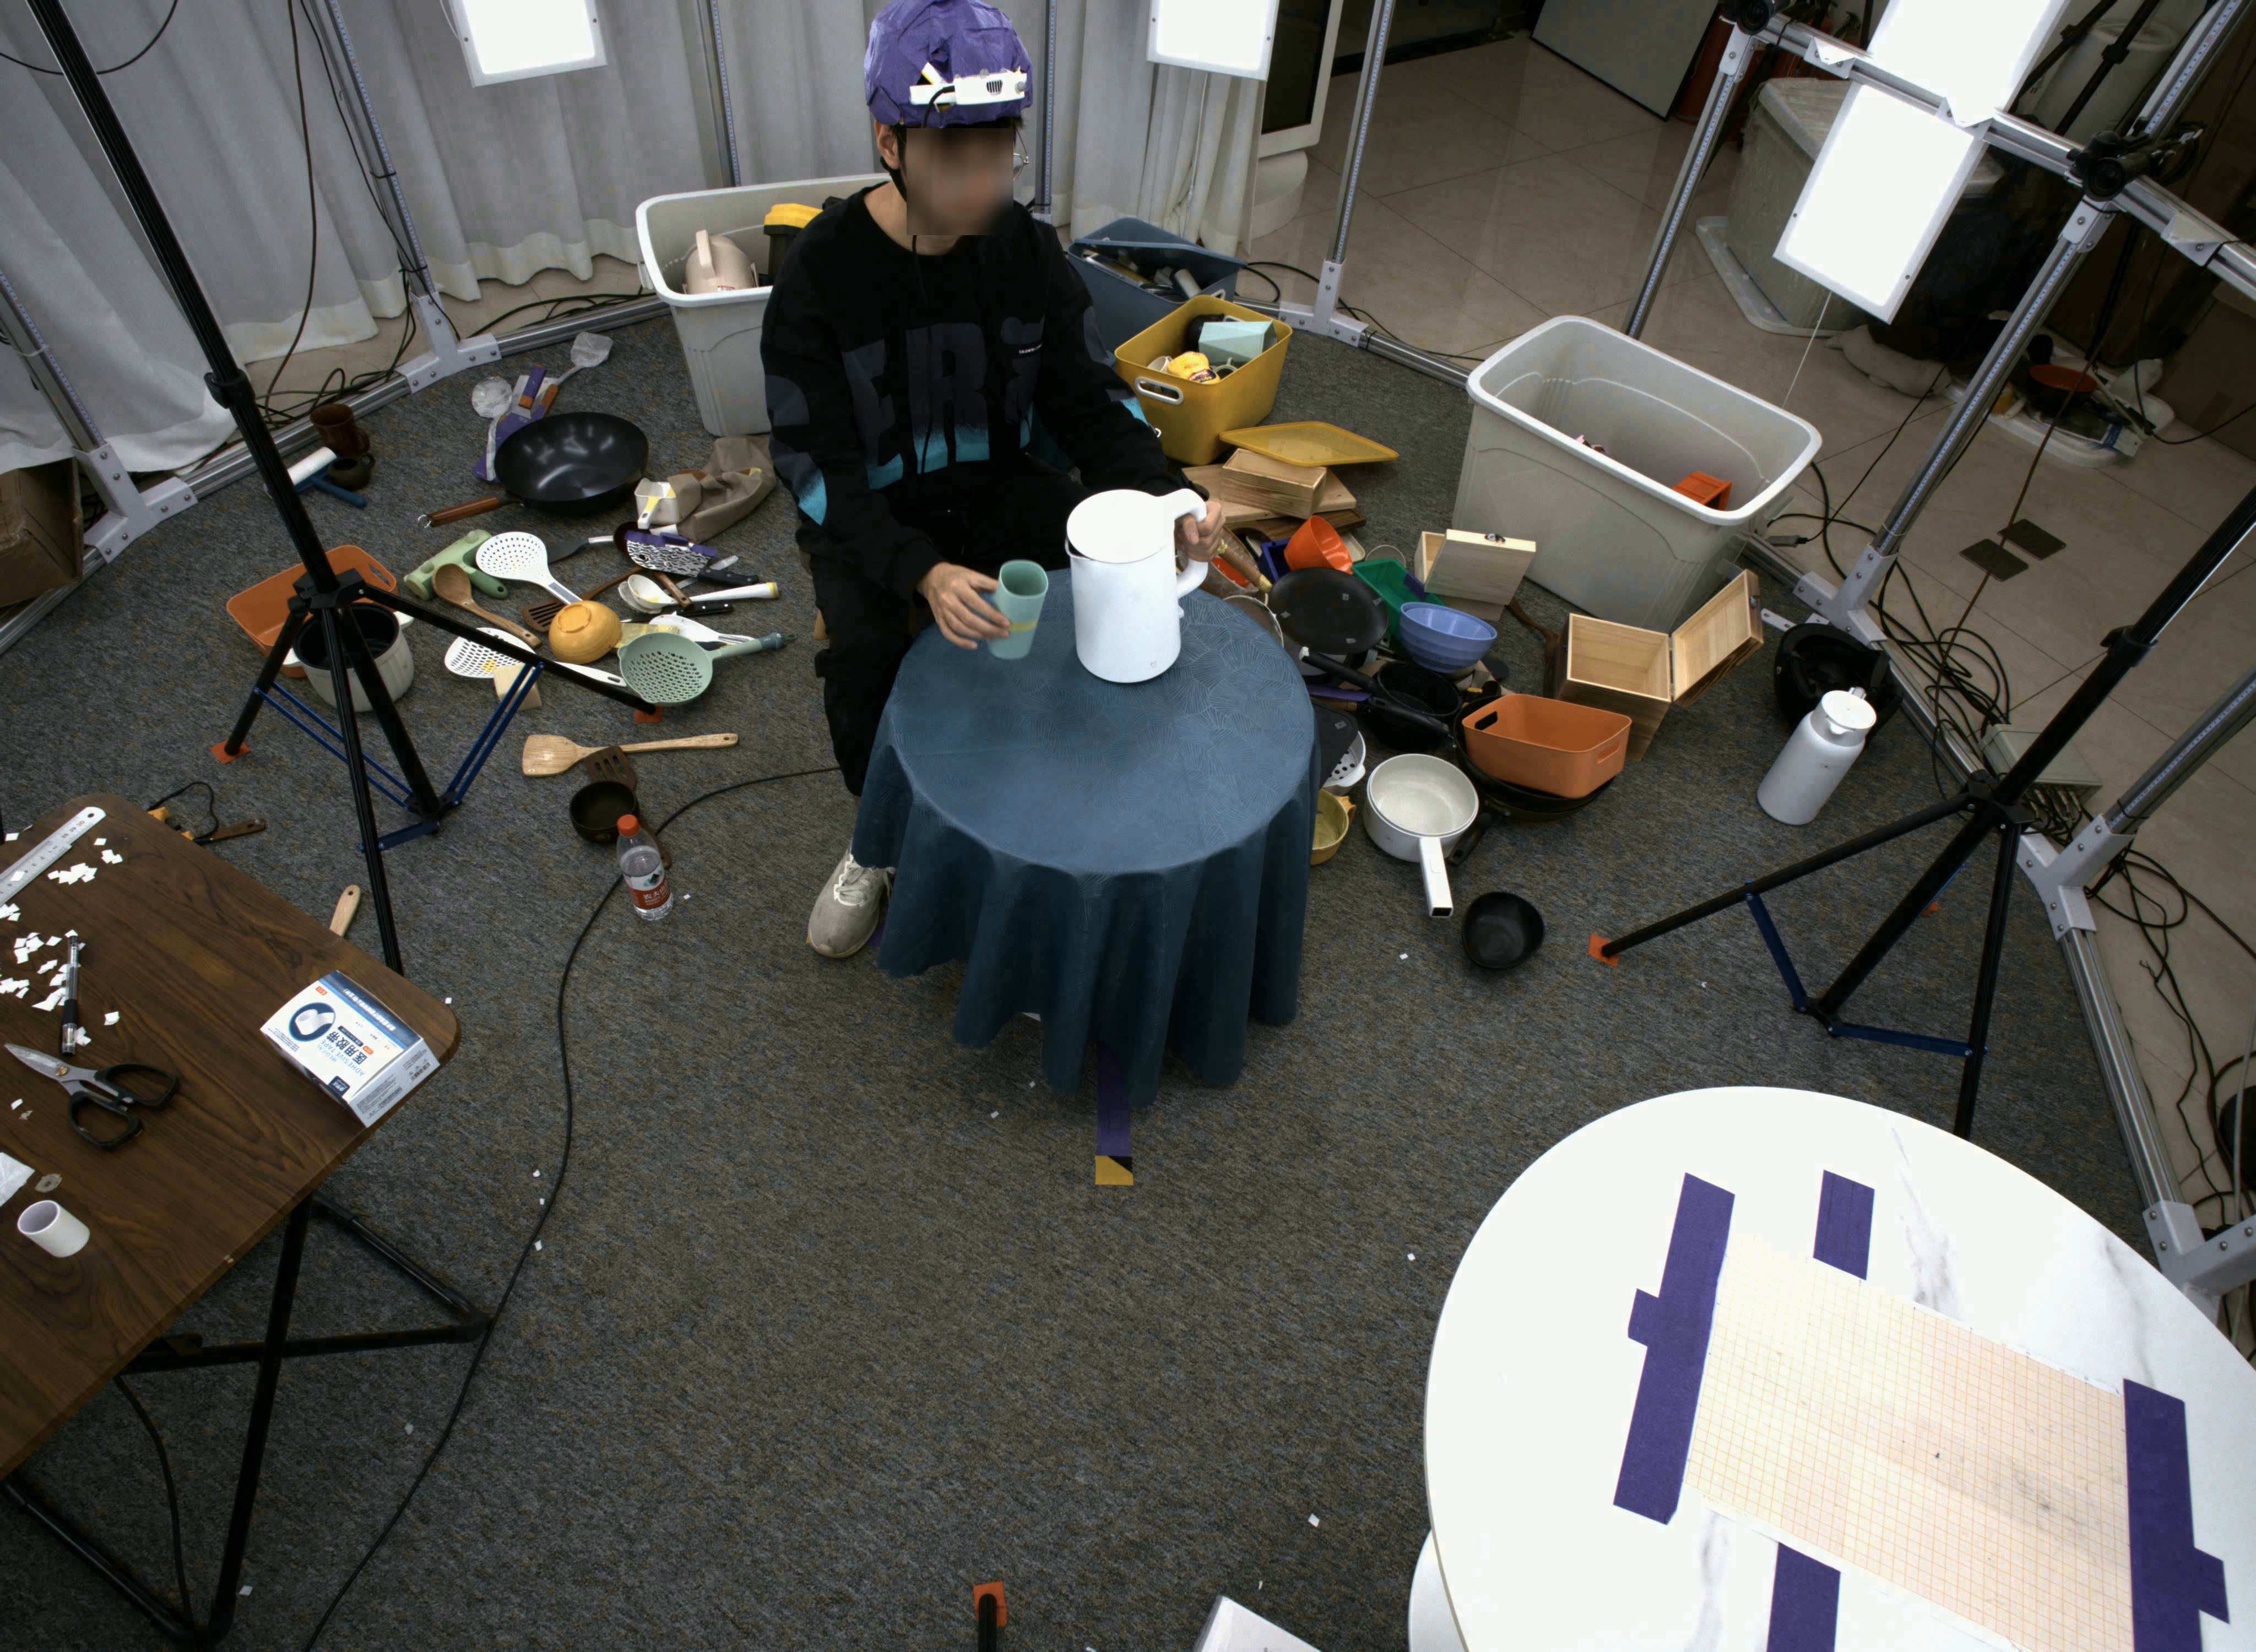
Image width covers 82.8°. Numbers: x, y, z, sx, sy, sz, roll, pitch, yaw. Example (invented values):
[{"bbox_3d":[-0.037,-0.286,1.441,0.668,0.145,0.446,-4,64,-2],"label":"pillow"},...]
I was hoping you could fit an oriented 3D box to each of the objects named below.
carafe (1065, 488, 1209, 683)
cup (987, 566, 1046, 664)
[{"bbox_3d":[0.020,-0.344,1.803,0.214,0.234,0.155,-28,56,-15],"label":"carafe"},{"bbox_3d":[-0.149,-0.281,1.711,0.066,0.130,0.068,6,58,-10],"label":"cup"}]
